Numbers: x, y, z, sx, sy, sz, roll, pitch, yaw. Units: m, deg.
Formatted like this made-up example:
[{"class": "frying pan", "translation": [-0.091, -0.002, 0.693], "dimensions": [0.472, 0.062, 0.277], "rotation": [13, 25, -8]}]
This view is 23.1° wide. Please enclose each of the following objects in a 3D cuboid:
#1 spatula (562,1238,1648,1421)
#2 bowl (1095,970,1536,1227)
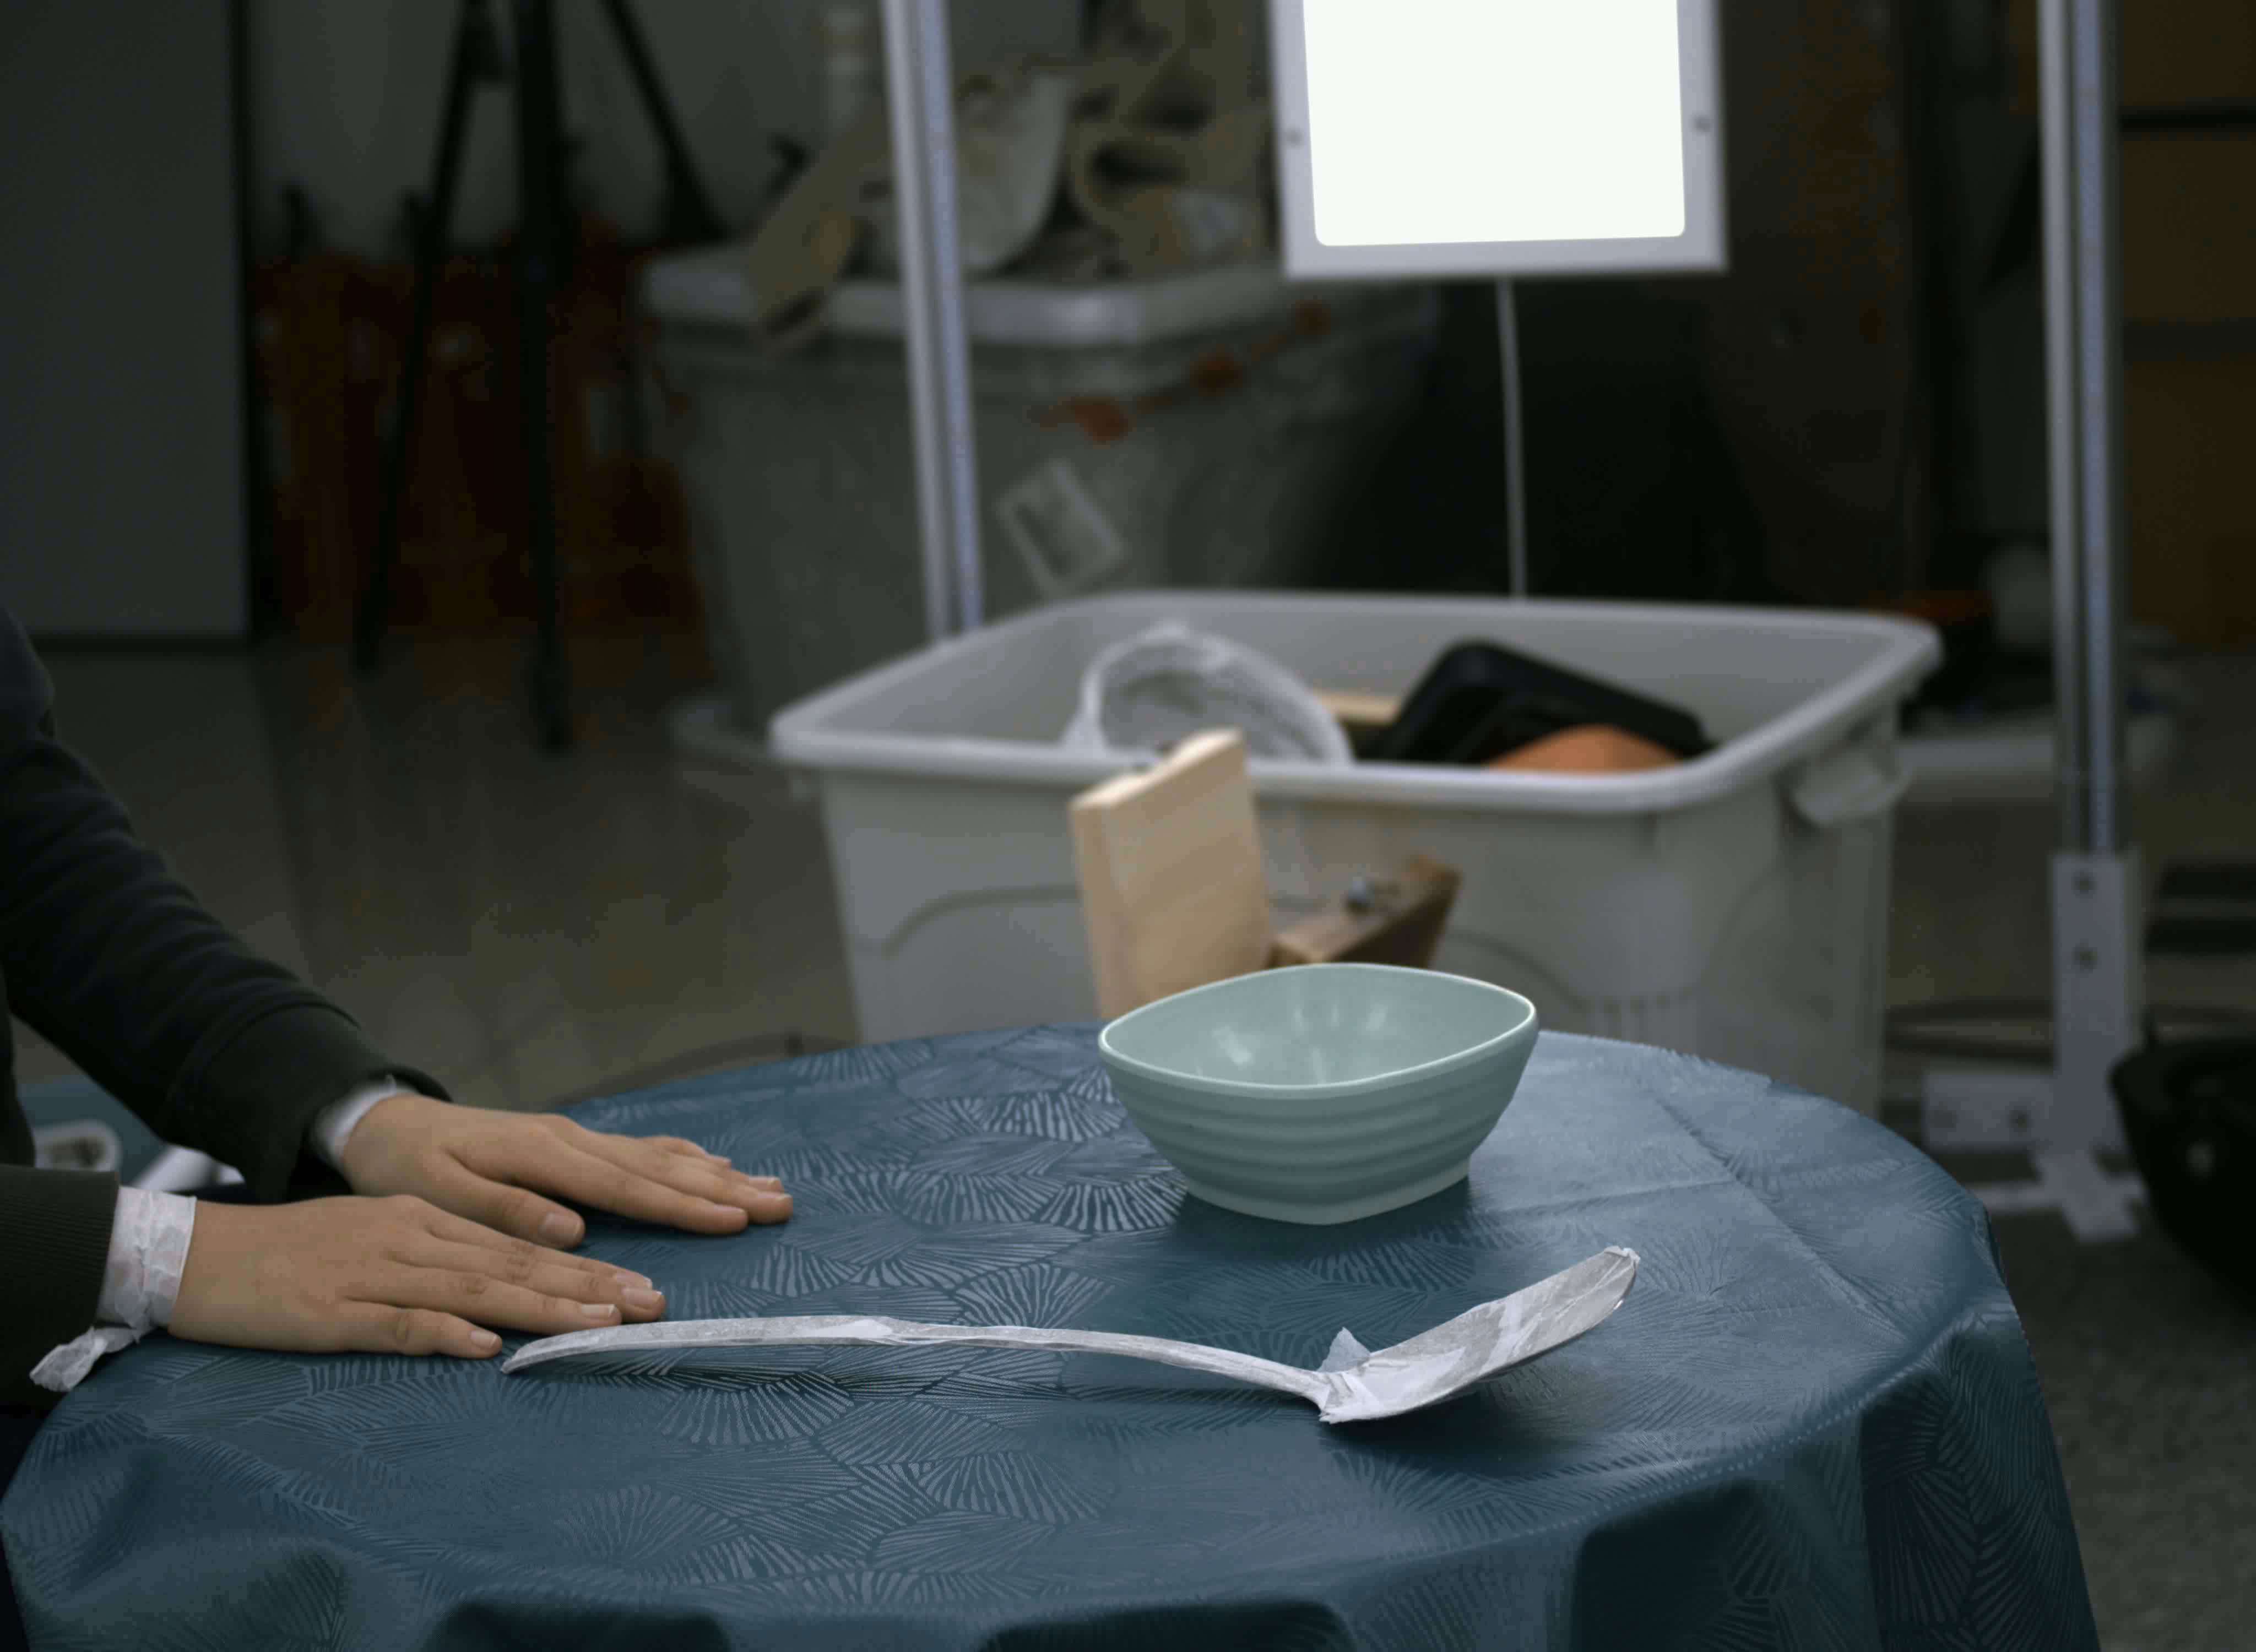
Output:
[{"class": "spatula", "translation": [-0.018, 0.154, 1.708], "dimensions": [0.370, 0.045, 0.097], "rotation": [1, 17, 22]}, {"class": "bowl", "translation": [0.065, 0.096, 1.883], "dimensions": [0.151, 0.059, 0.151], "rotation": [-2, 13, -1]}]
